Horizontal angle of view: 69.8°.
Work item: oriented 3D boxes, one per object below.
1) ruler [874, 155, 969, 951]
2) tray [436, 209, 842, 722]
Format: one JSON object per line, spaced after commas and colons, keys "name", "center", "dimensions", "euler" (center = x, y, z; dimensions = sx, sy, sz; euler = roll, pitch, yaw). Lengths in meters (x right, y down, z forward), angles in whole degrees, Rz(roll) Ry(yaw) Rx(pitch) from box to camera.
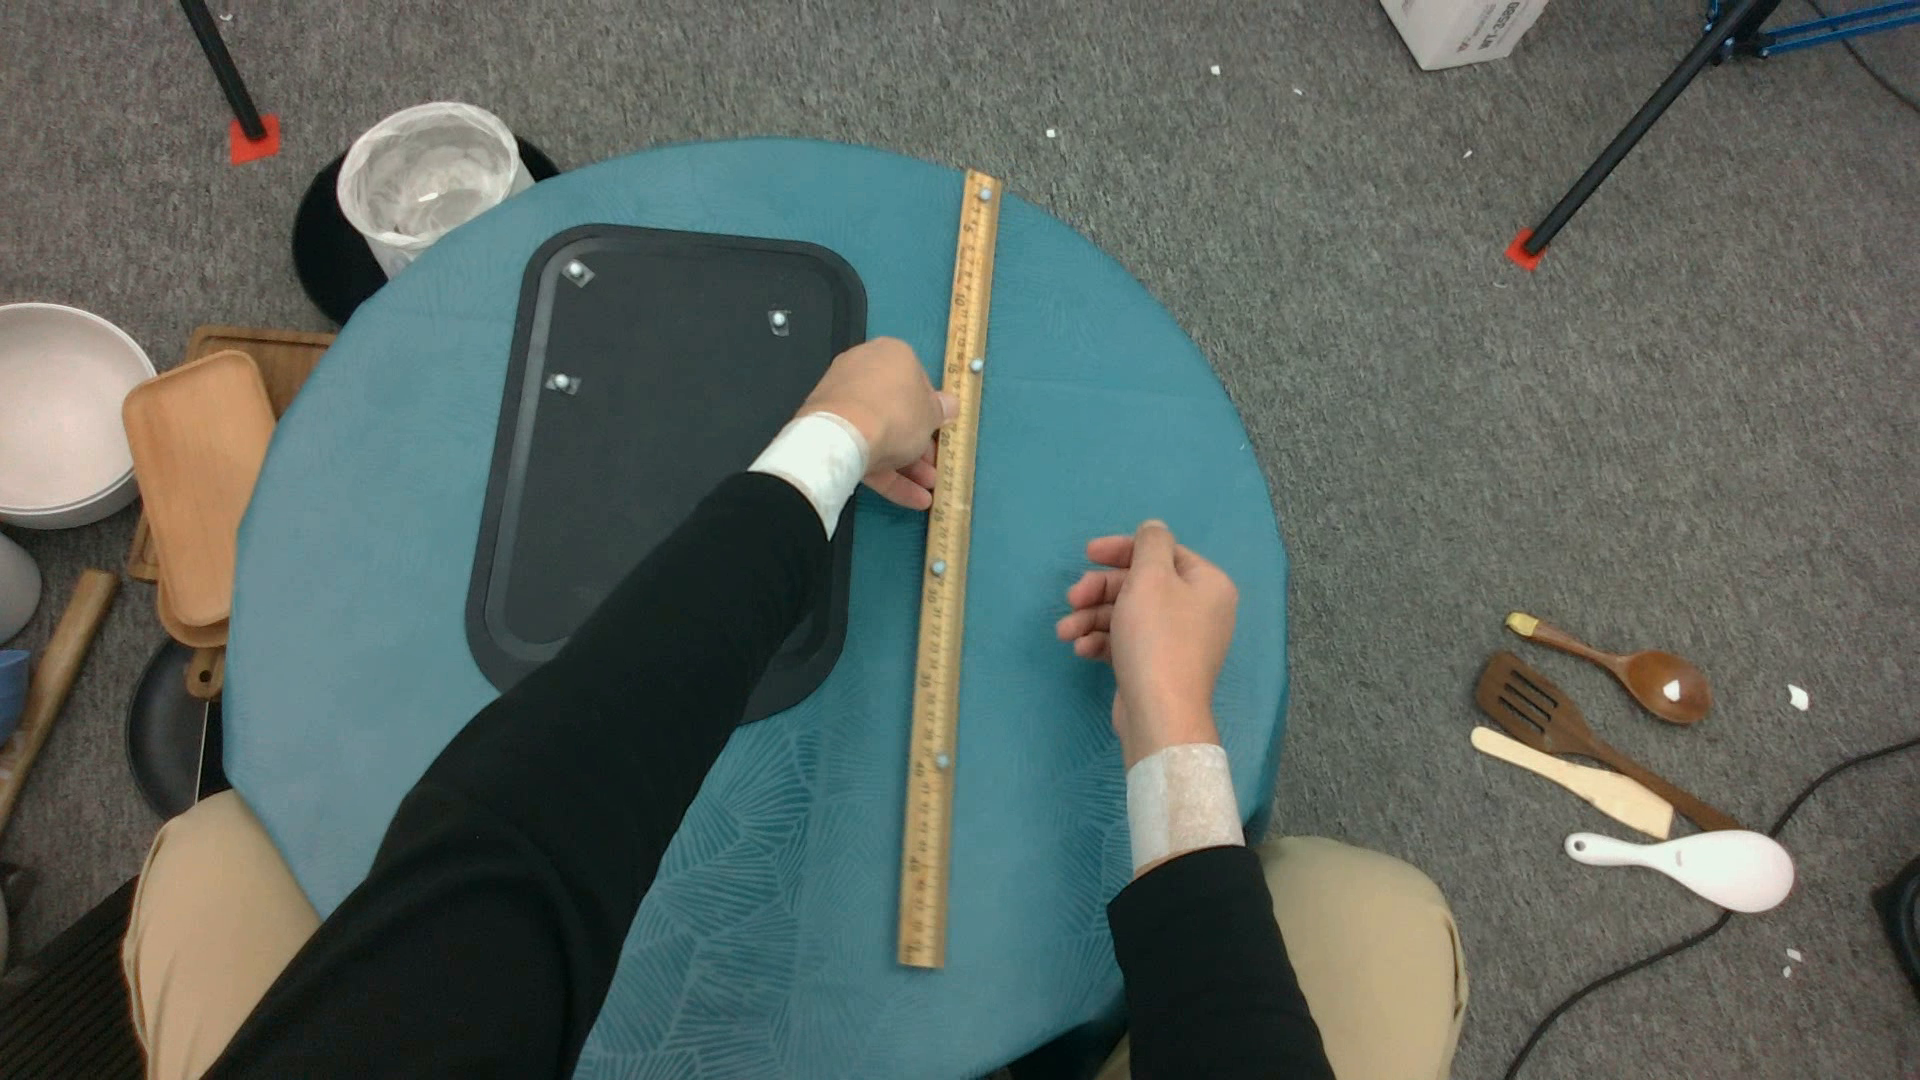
{"name": "ruler", "center": [-0.019, -0.020, 0.805], "dimensions": [0.027, 0.006, 0.502], "euler": [18, 63, -30]}
{"name": "tray", "center": [-0.180, -0.053, 0.803], "dimensions": [0.211, 0.010, 0.326], "euler": [4, 67, -6]}
